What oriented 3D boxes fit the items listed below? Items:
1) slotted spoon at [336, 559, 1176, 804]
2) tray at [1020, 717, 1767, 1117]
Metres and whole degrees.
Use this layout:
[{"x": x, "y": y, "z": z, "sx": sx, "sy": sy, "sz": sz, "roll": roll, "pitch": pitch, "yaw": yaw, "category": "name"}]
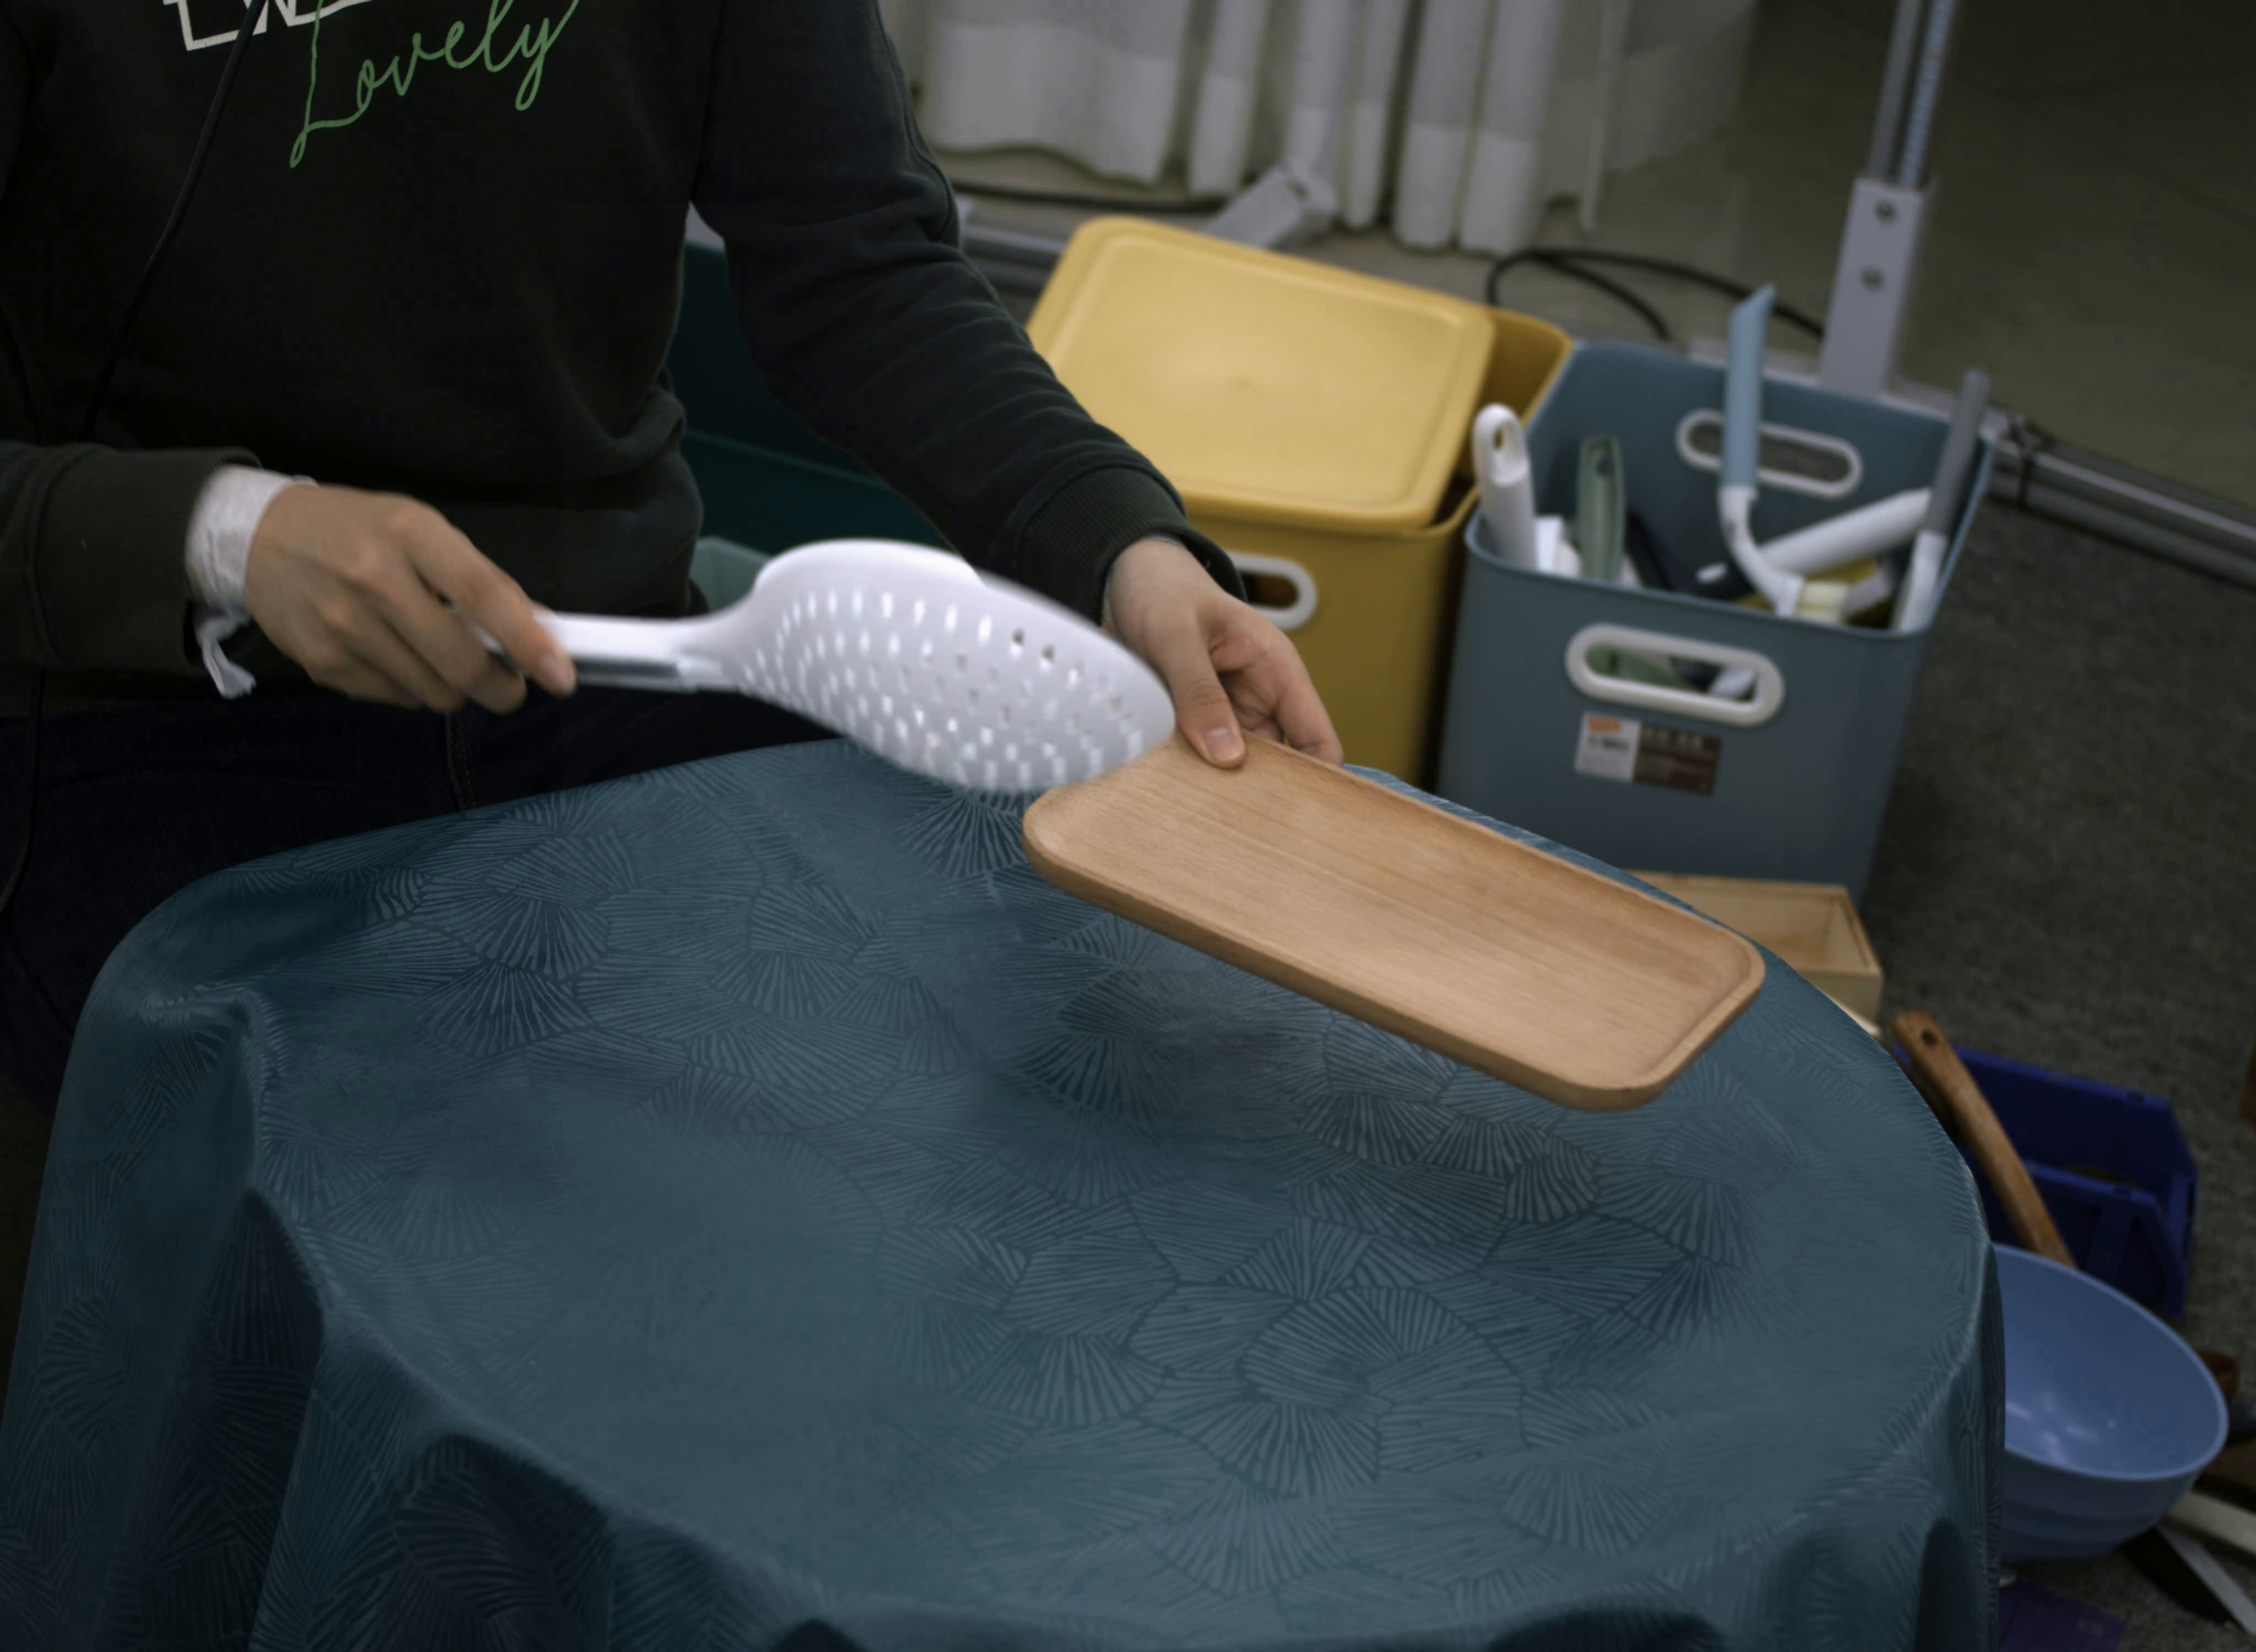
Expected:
[{"x": -0.136, "y": -0.051, "z": 1.760, "sx": 0.352, "sy": 0.046, "sz": 0.135, "roll": 10, "pitch": -20, "yaw": 41, "category": "slotted spoon"}, {"x": 0.090, "y": 0.030, "z": 1.834, "sx": 0.252, "sy": 0.023, "sz": 0.130, "roll": 22, "pitch": 31, "yaw": 24, "category": "tray"}]
